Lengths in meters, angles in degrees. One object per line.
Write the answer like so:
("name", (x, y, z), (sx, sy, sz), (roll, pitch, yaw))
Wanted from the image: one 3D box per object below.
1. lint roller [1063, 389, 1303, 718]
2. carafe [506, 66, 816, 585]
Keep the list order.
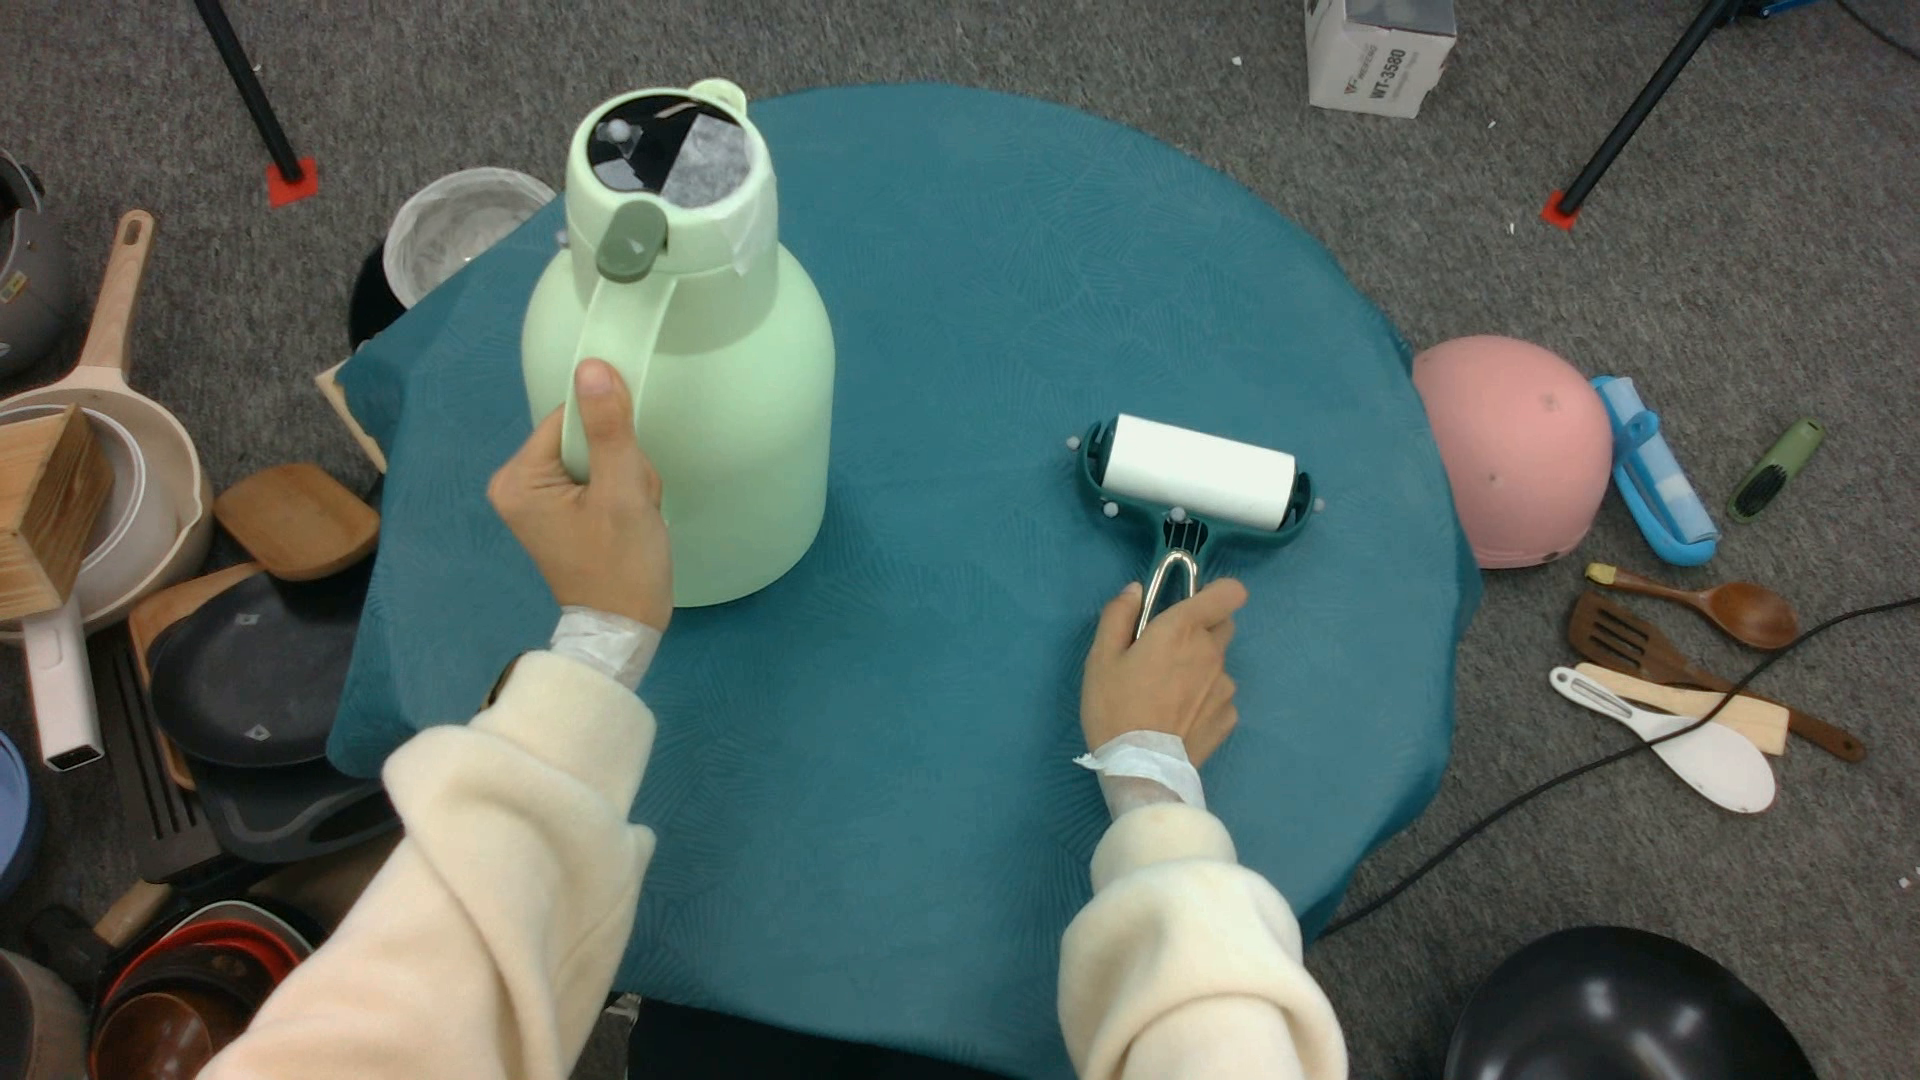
("lint roller", (0.108, 0.006, 0.727), (0.134, 0.048, 0.181), (14, 55, 2))
("carafe", (-0.141, -0.082, 0.635), (0.144, 0.255, 0.187), (15, 61, -3))
